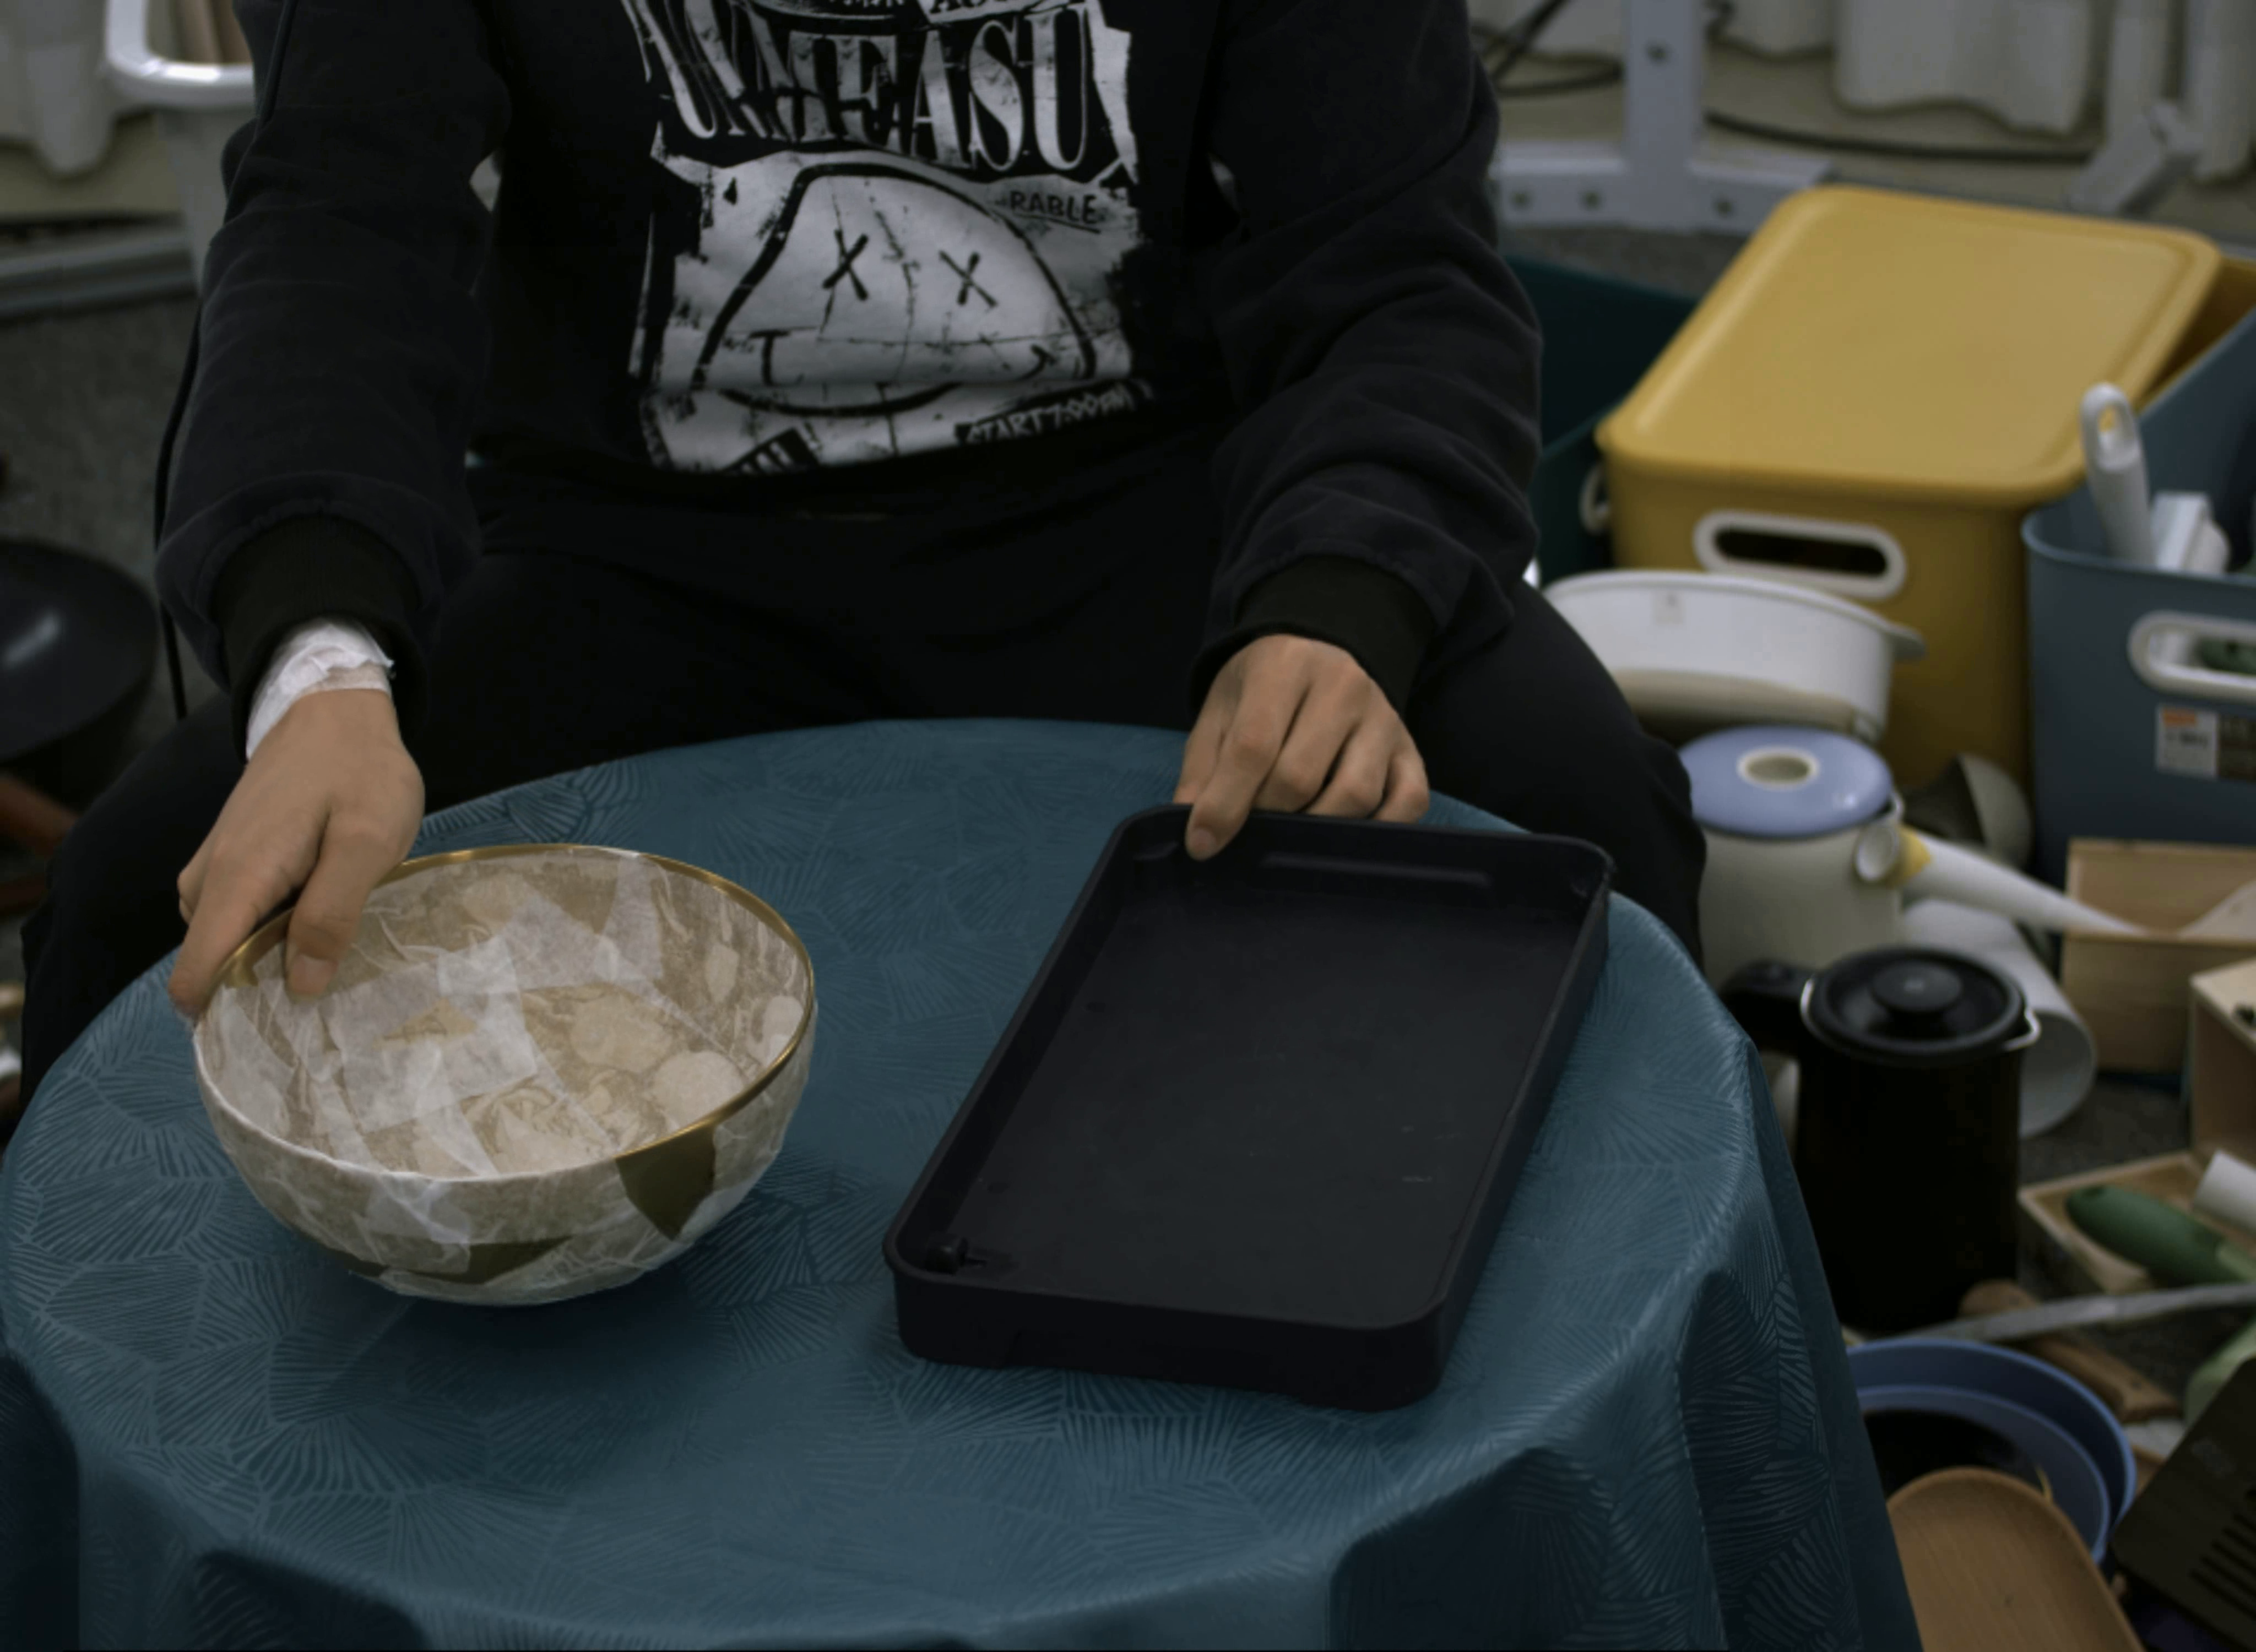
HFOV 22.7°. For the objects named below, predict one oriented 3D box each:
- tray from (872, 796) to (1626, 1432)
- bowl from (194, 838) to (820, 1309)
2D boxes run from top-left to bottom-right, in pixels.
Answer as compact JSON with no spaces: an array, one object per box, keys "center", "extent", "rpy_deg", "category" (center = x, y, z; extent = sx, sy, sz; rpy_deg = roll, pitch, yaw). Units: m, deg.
[{"center":[0.047,0.089,1.882],"extent":[0.183,0.036,0.324],"rpy_deg":[7,31,15],"category":"tray"},{"center":[-0.195,0.093,1.832],"extent":[0.213,0.093,0.218],"rpy_deg":[-1,30,1],"category":"bowl"}]
